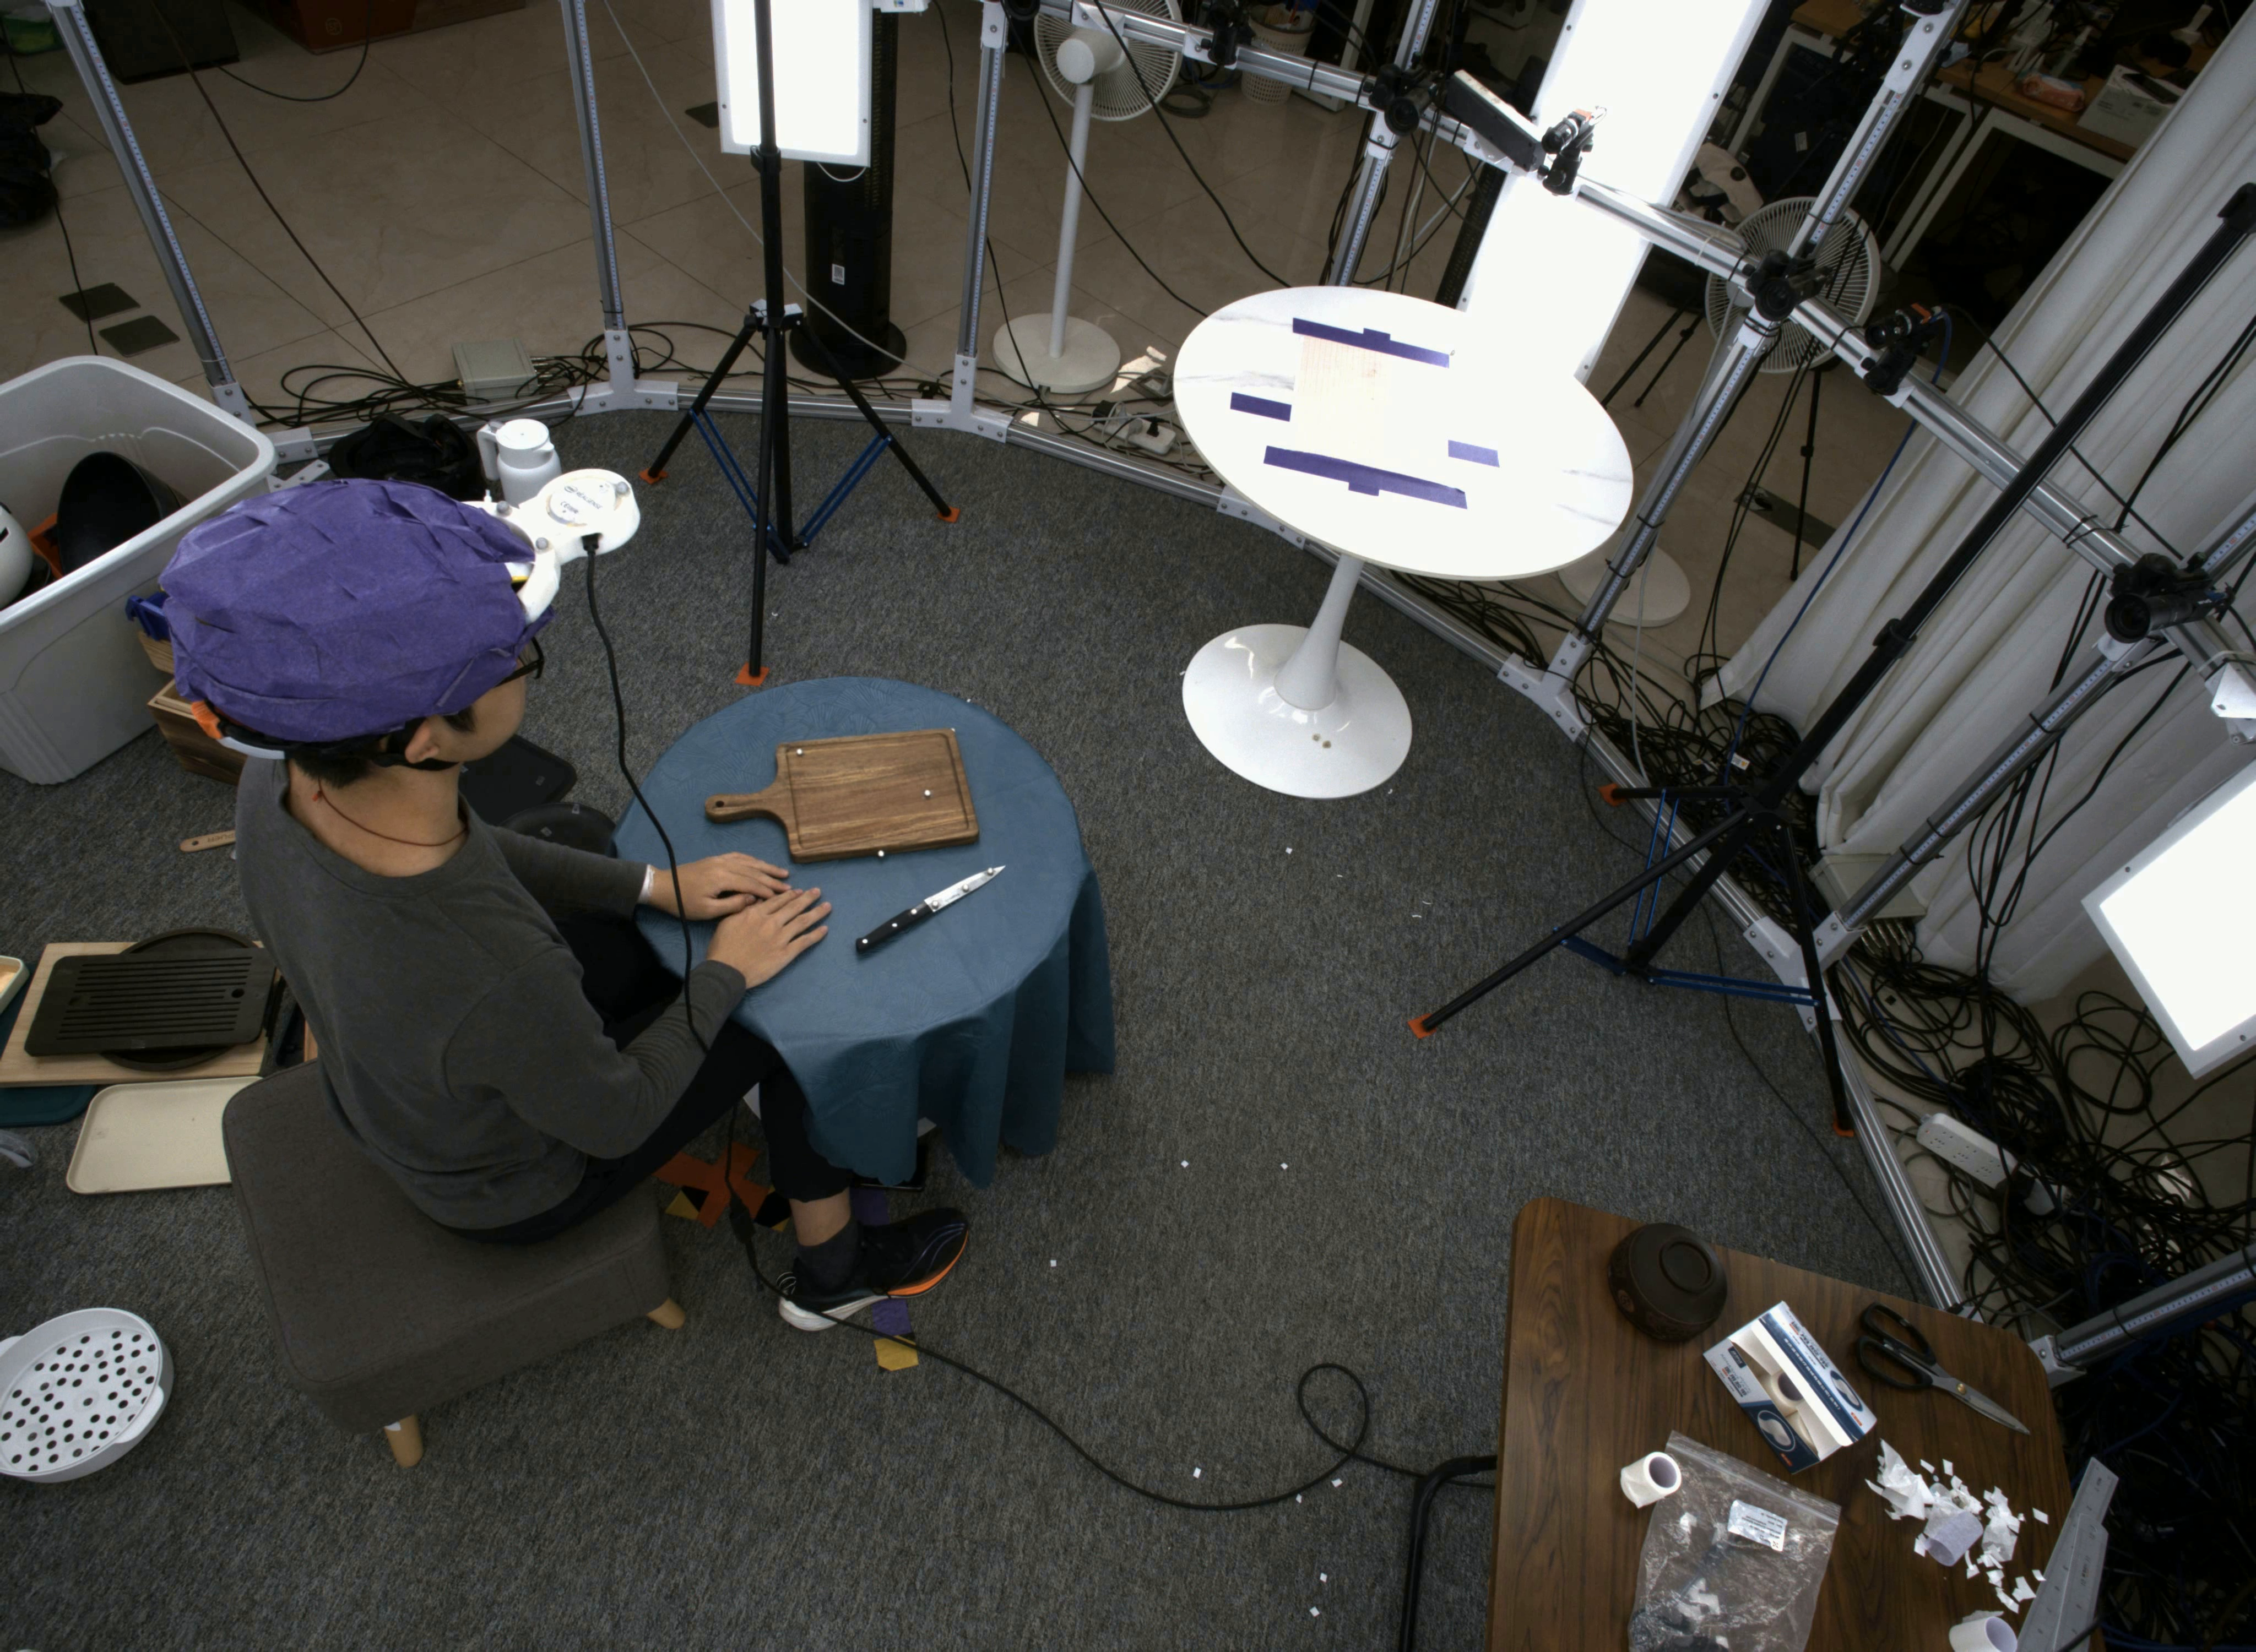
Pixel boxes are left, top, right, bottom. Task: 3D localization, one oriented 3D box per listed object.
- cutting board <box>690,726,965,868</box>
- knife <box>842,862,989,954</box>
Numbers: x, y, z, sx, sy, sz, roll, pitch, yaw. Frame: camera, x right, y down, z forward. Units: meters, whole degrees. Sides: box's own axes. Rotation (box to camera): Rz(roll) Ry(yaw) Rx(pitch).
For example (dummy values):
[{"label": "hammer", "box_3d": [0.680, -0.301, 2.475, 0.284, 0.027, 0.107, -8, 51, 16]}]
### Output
[{"label": "cutting board", "box_3d": [-0.411, -0.038, 1.754, 0.353, 0.023, 0.196, -8, 56, -19]}, {"label": "knife", "box_3d": [-0.270, 0.102, 1.692, 0.239, 0.016, 0.024, -32, 66, -34]}]
